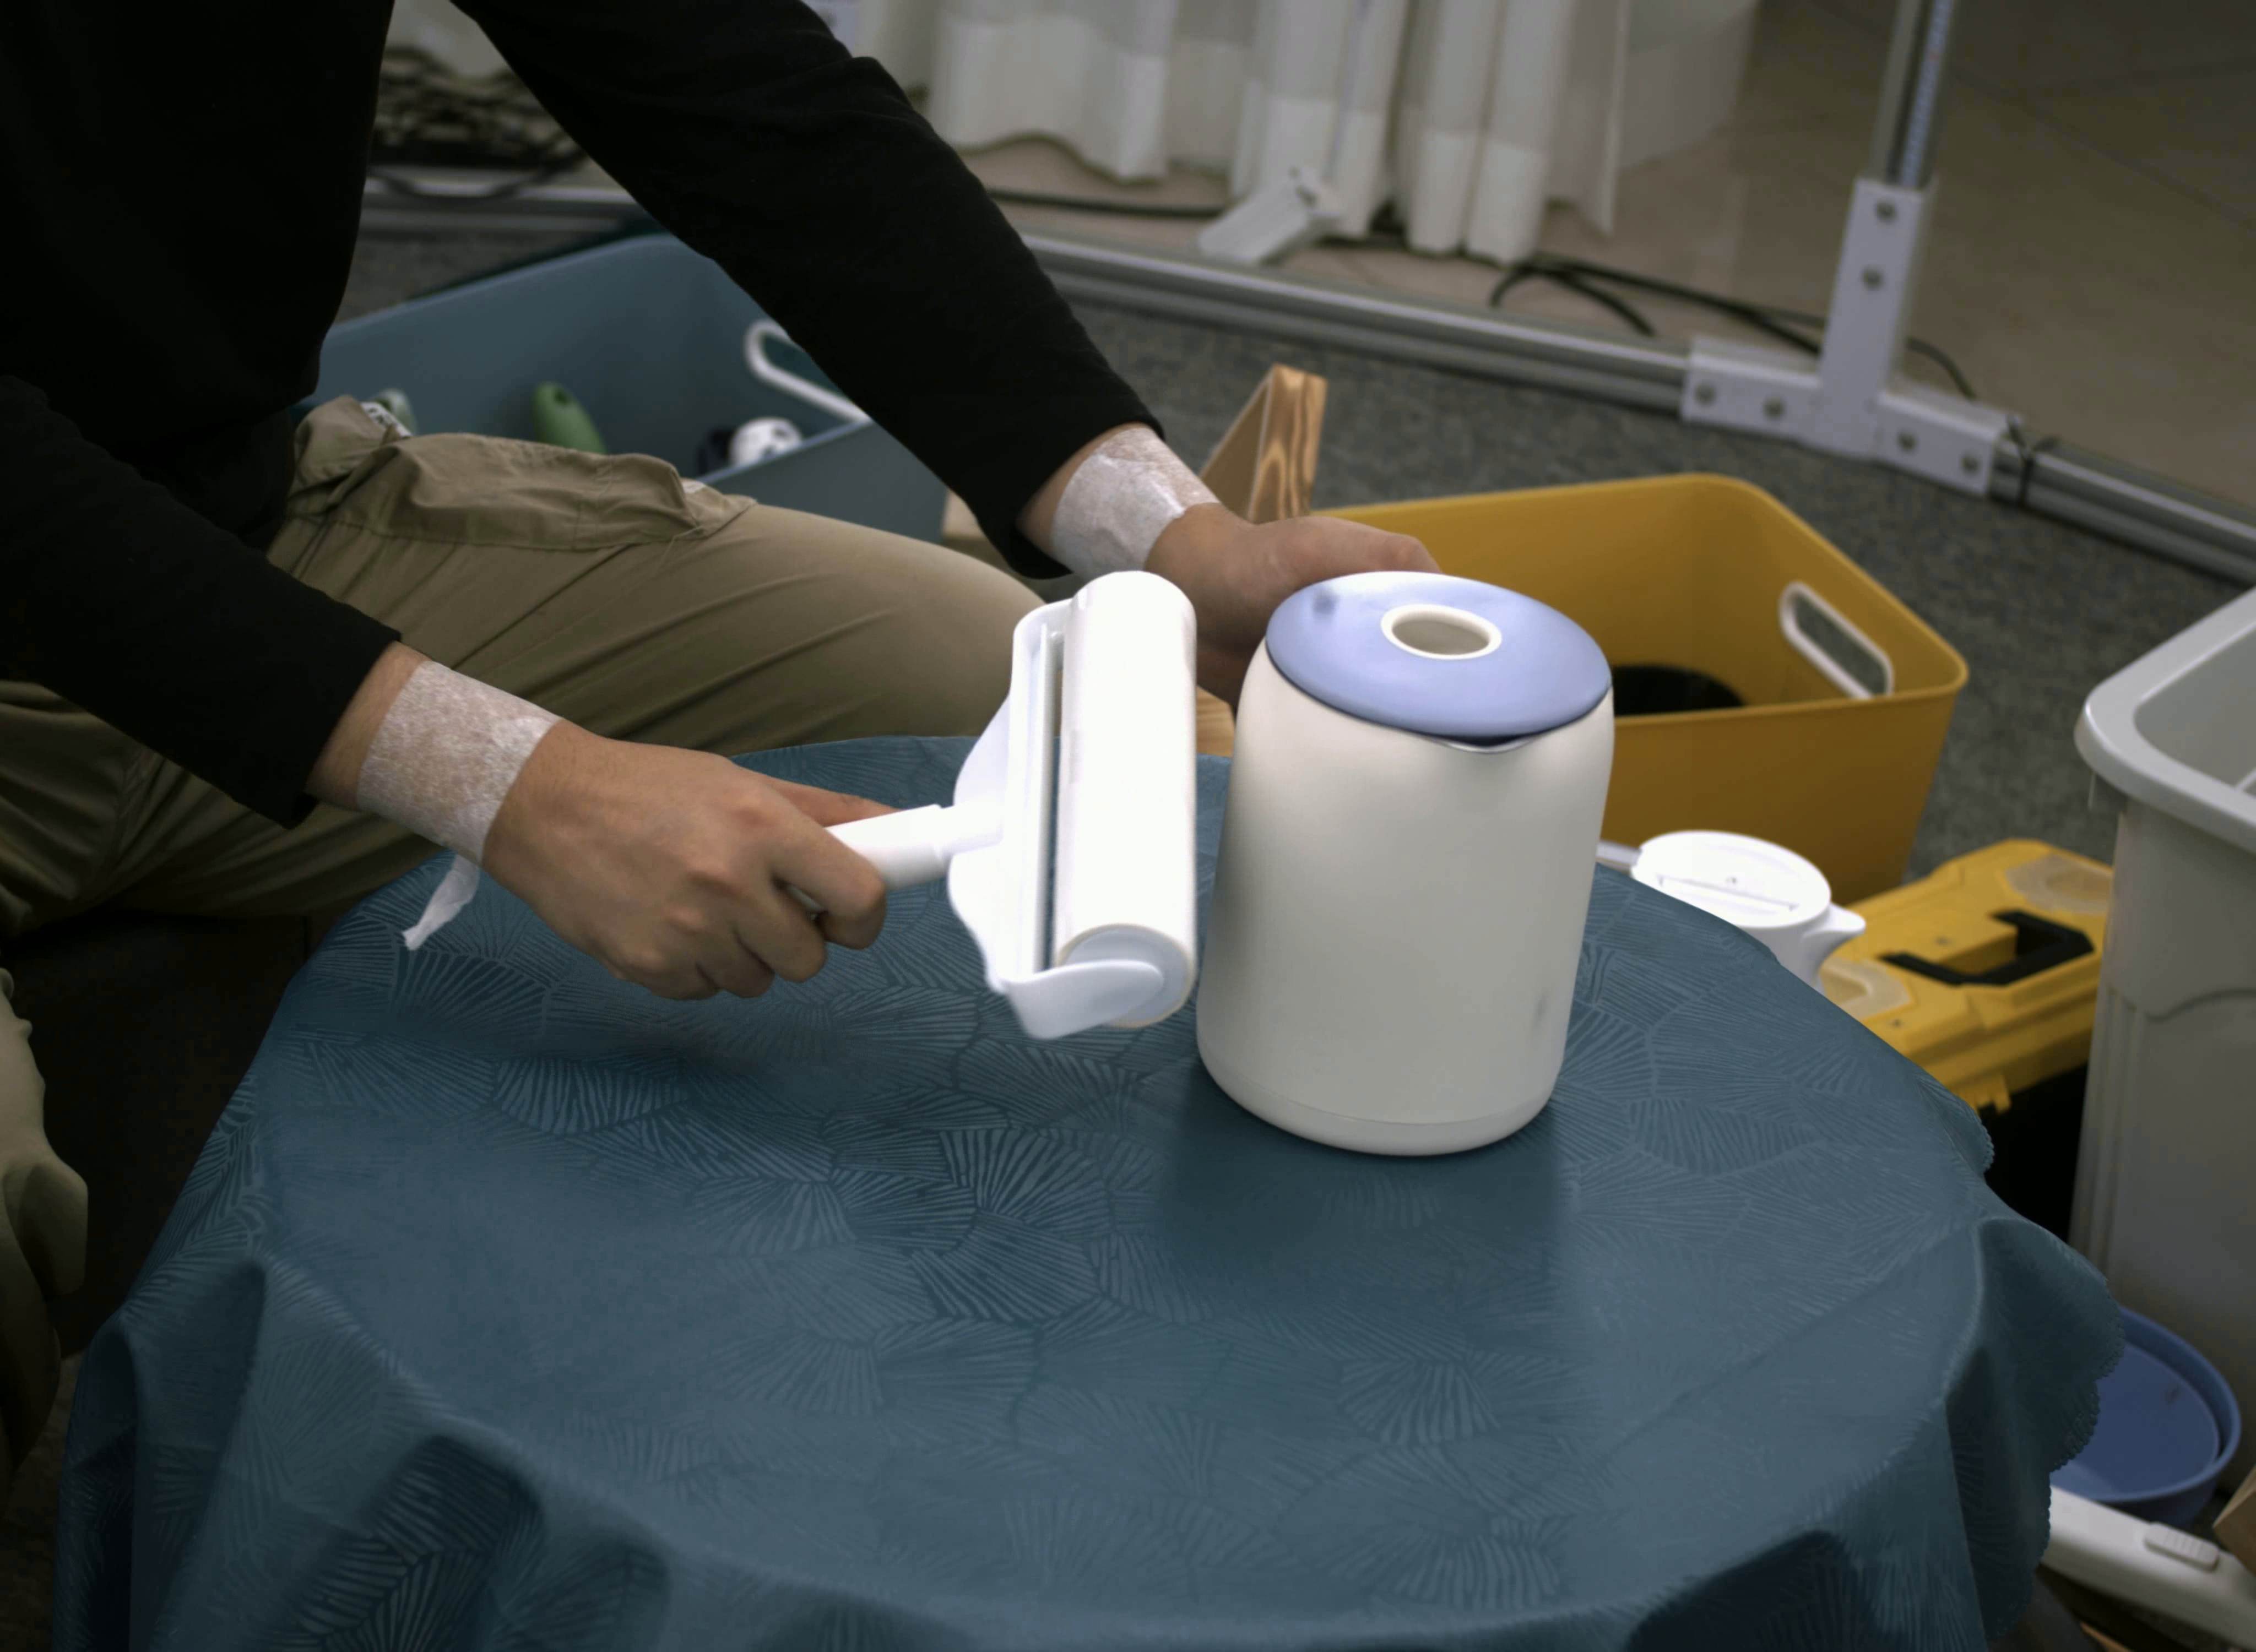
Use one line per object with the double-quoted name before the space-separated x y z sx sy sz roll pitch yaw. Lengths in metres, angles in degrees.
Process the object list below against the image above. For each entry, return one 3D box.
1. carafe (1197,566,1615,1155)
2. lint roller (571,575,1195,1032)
"carafe" 0.091 0.000 1.875 0.131 0.182 0.192 0 26 -15
"lint roller" -0.087 0.007 1.829 0.225 0.048 0.204 -12 38 9
